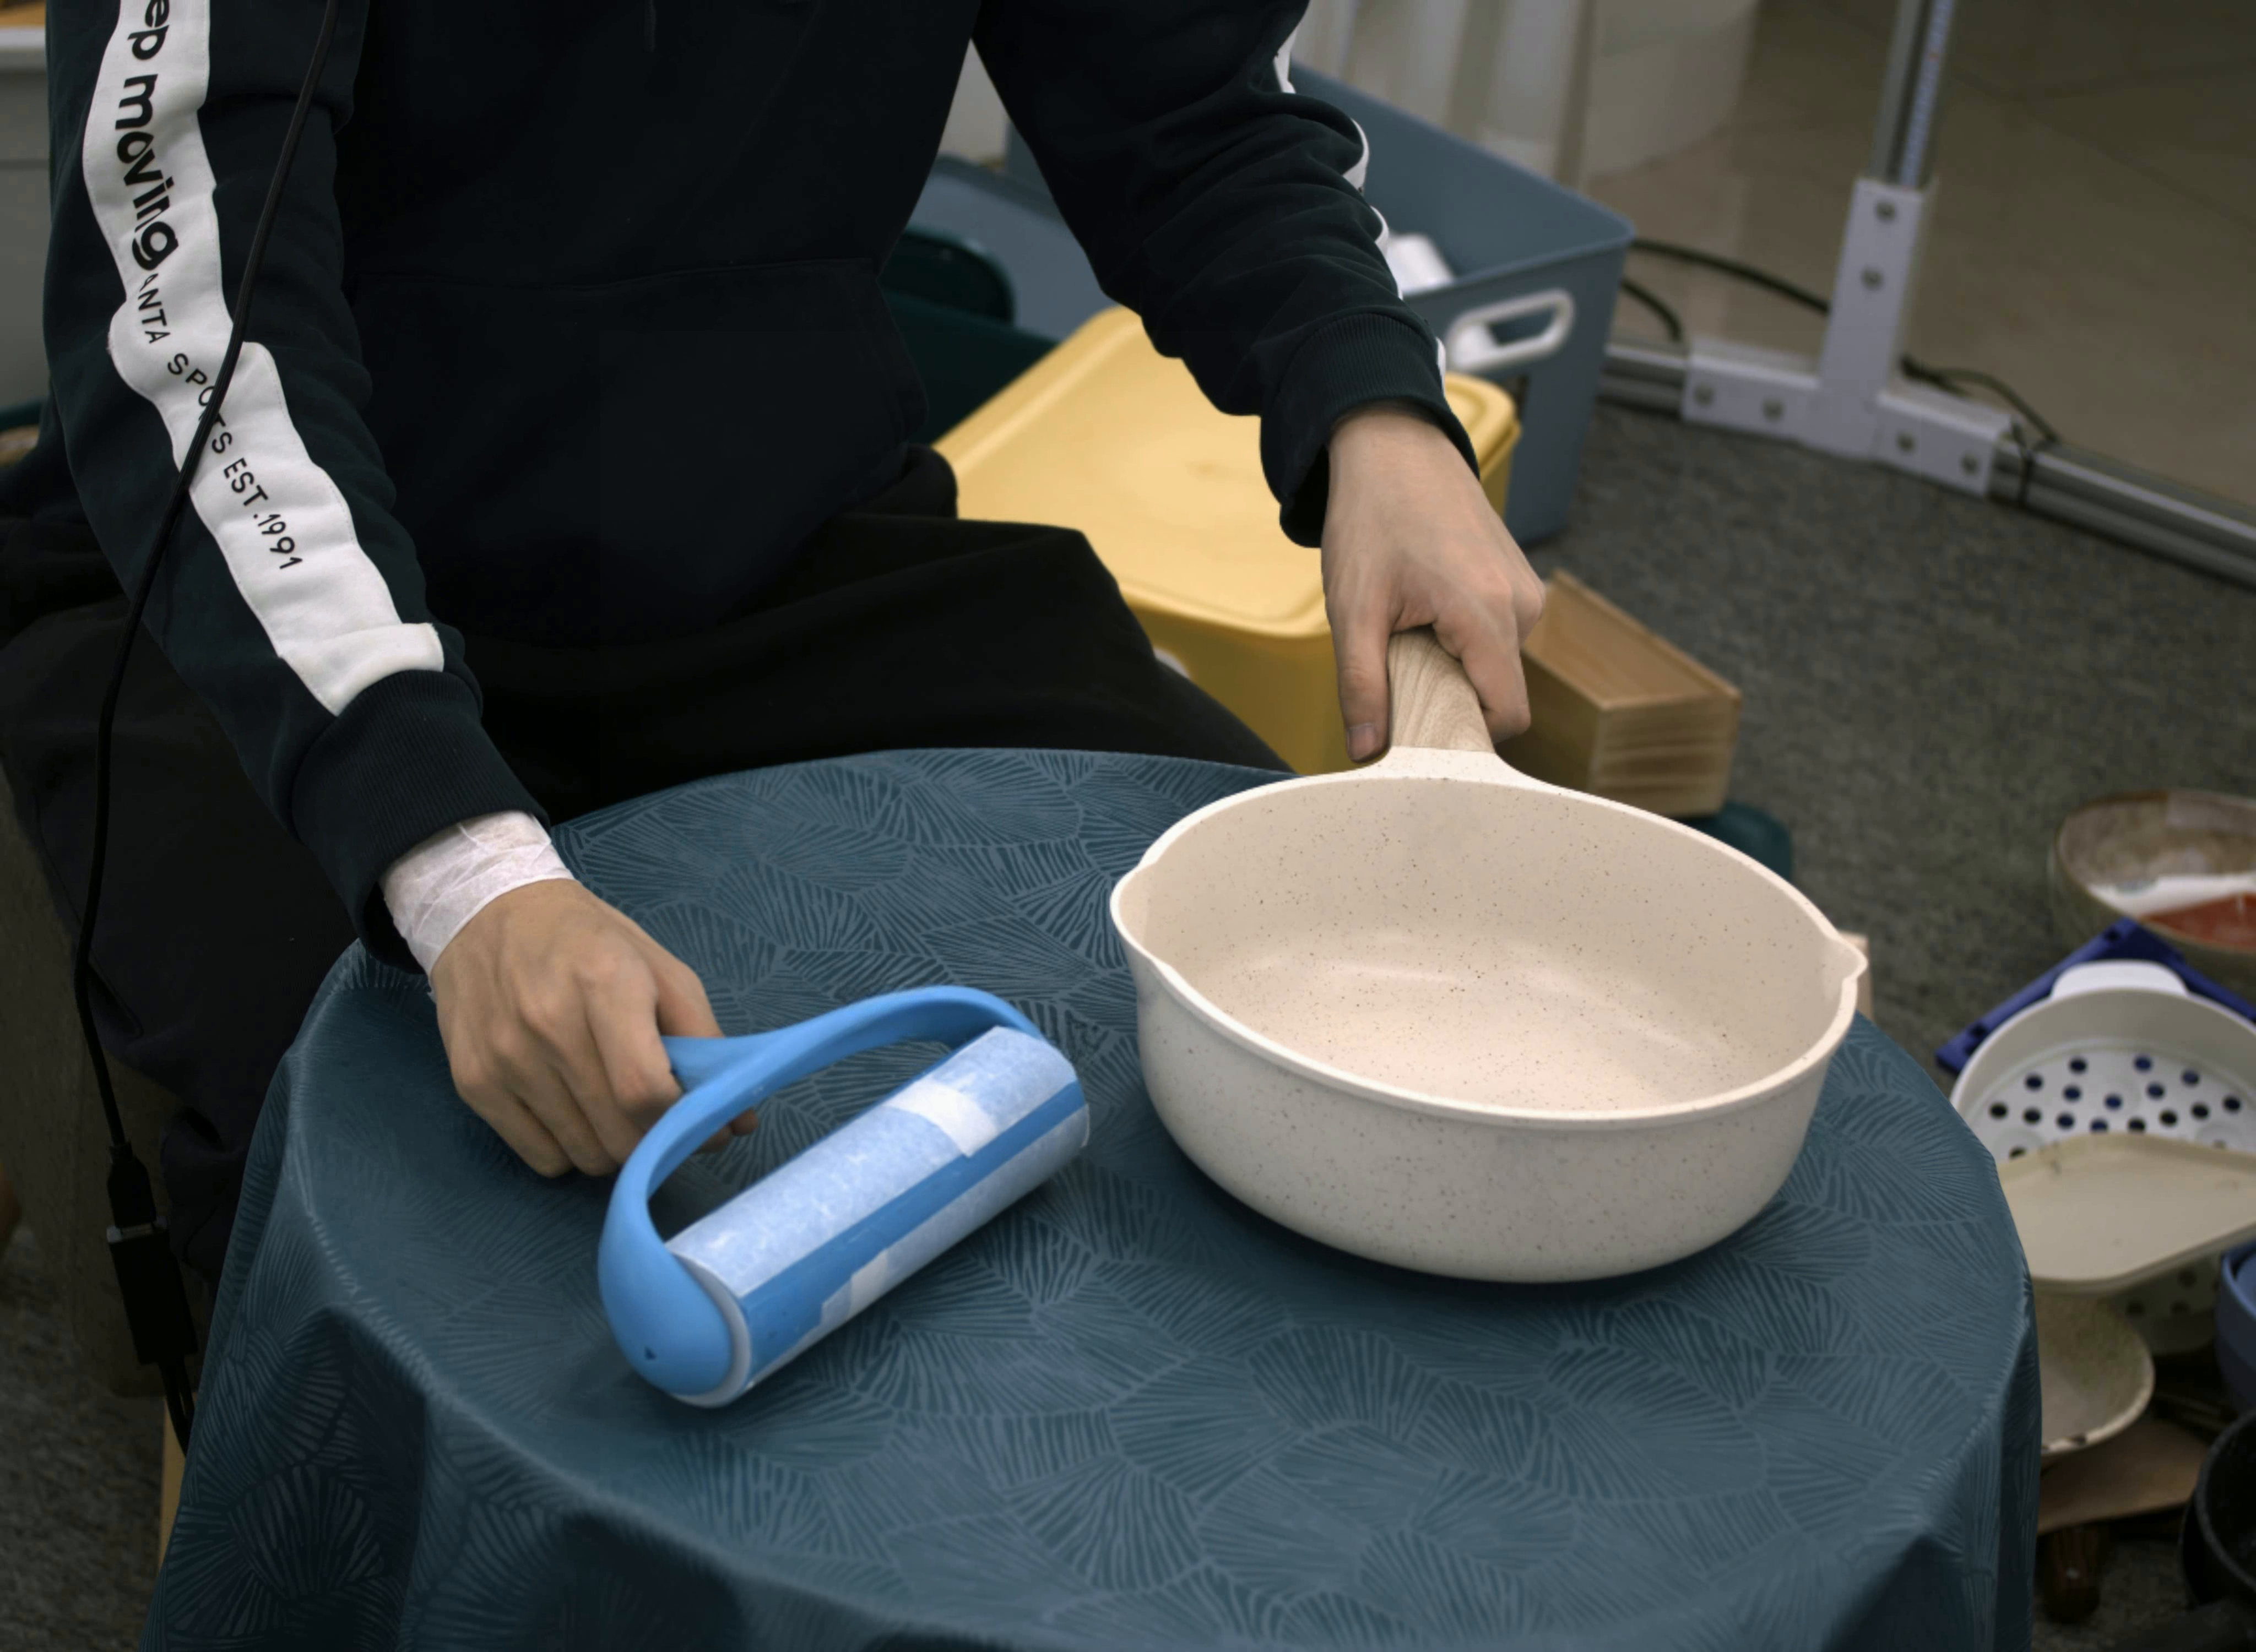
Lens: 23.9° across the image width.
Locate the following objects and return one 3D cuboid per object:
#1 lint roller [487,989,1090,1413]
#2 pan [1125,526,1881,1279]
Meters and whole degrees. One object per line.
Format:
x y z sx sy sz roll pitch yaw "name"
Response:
-0.136 0.104 1.742 0.181 0.067 0.228 20 32 23 "lint roller"
0.118 0.024 1.911 0.262 0.101 0.438 2 26 -6 "pan"
